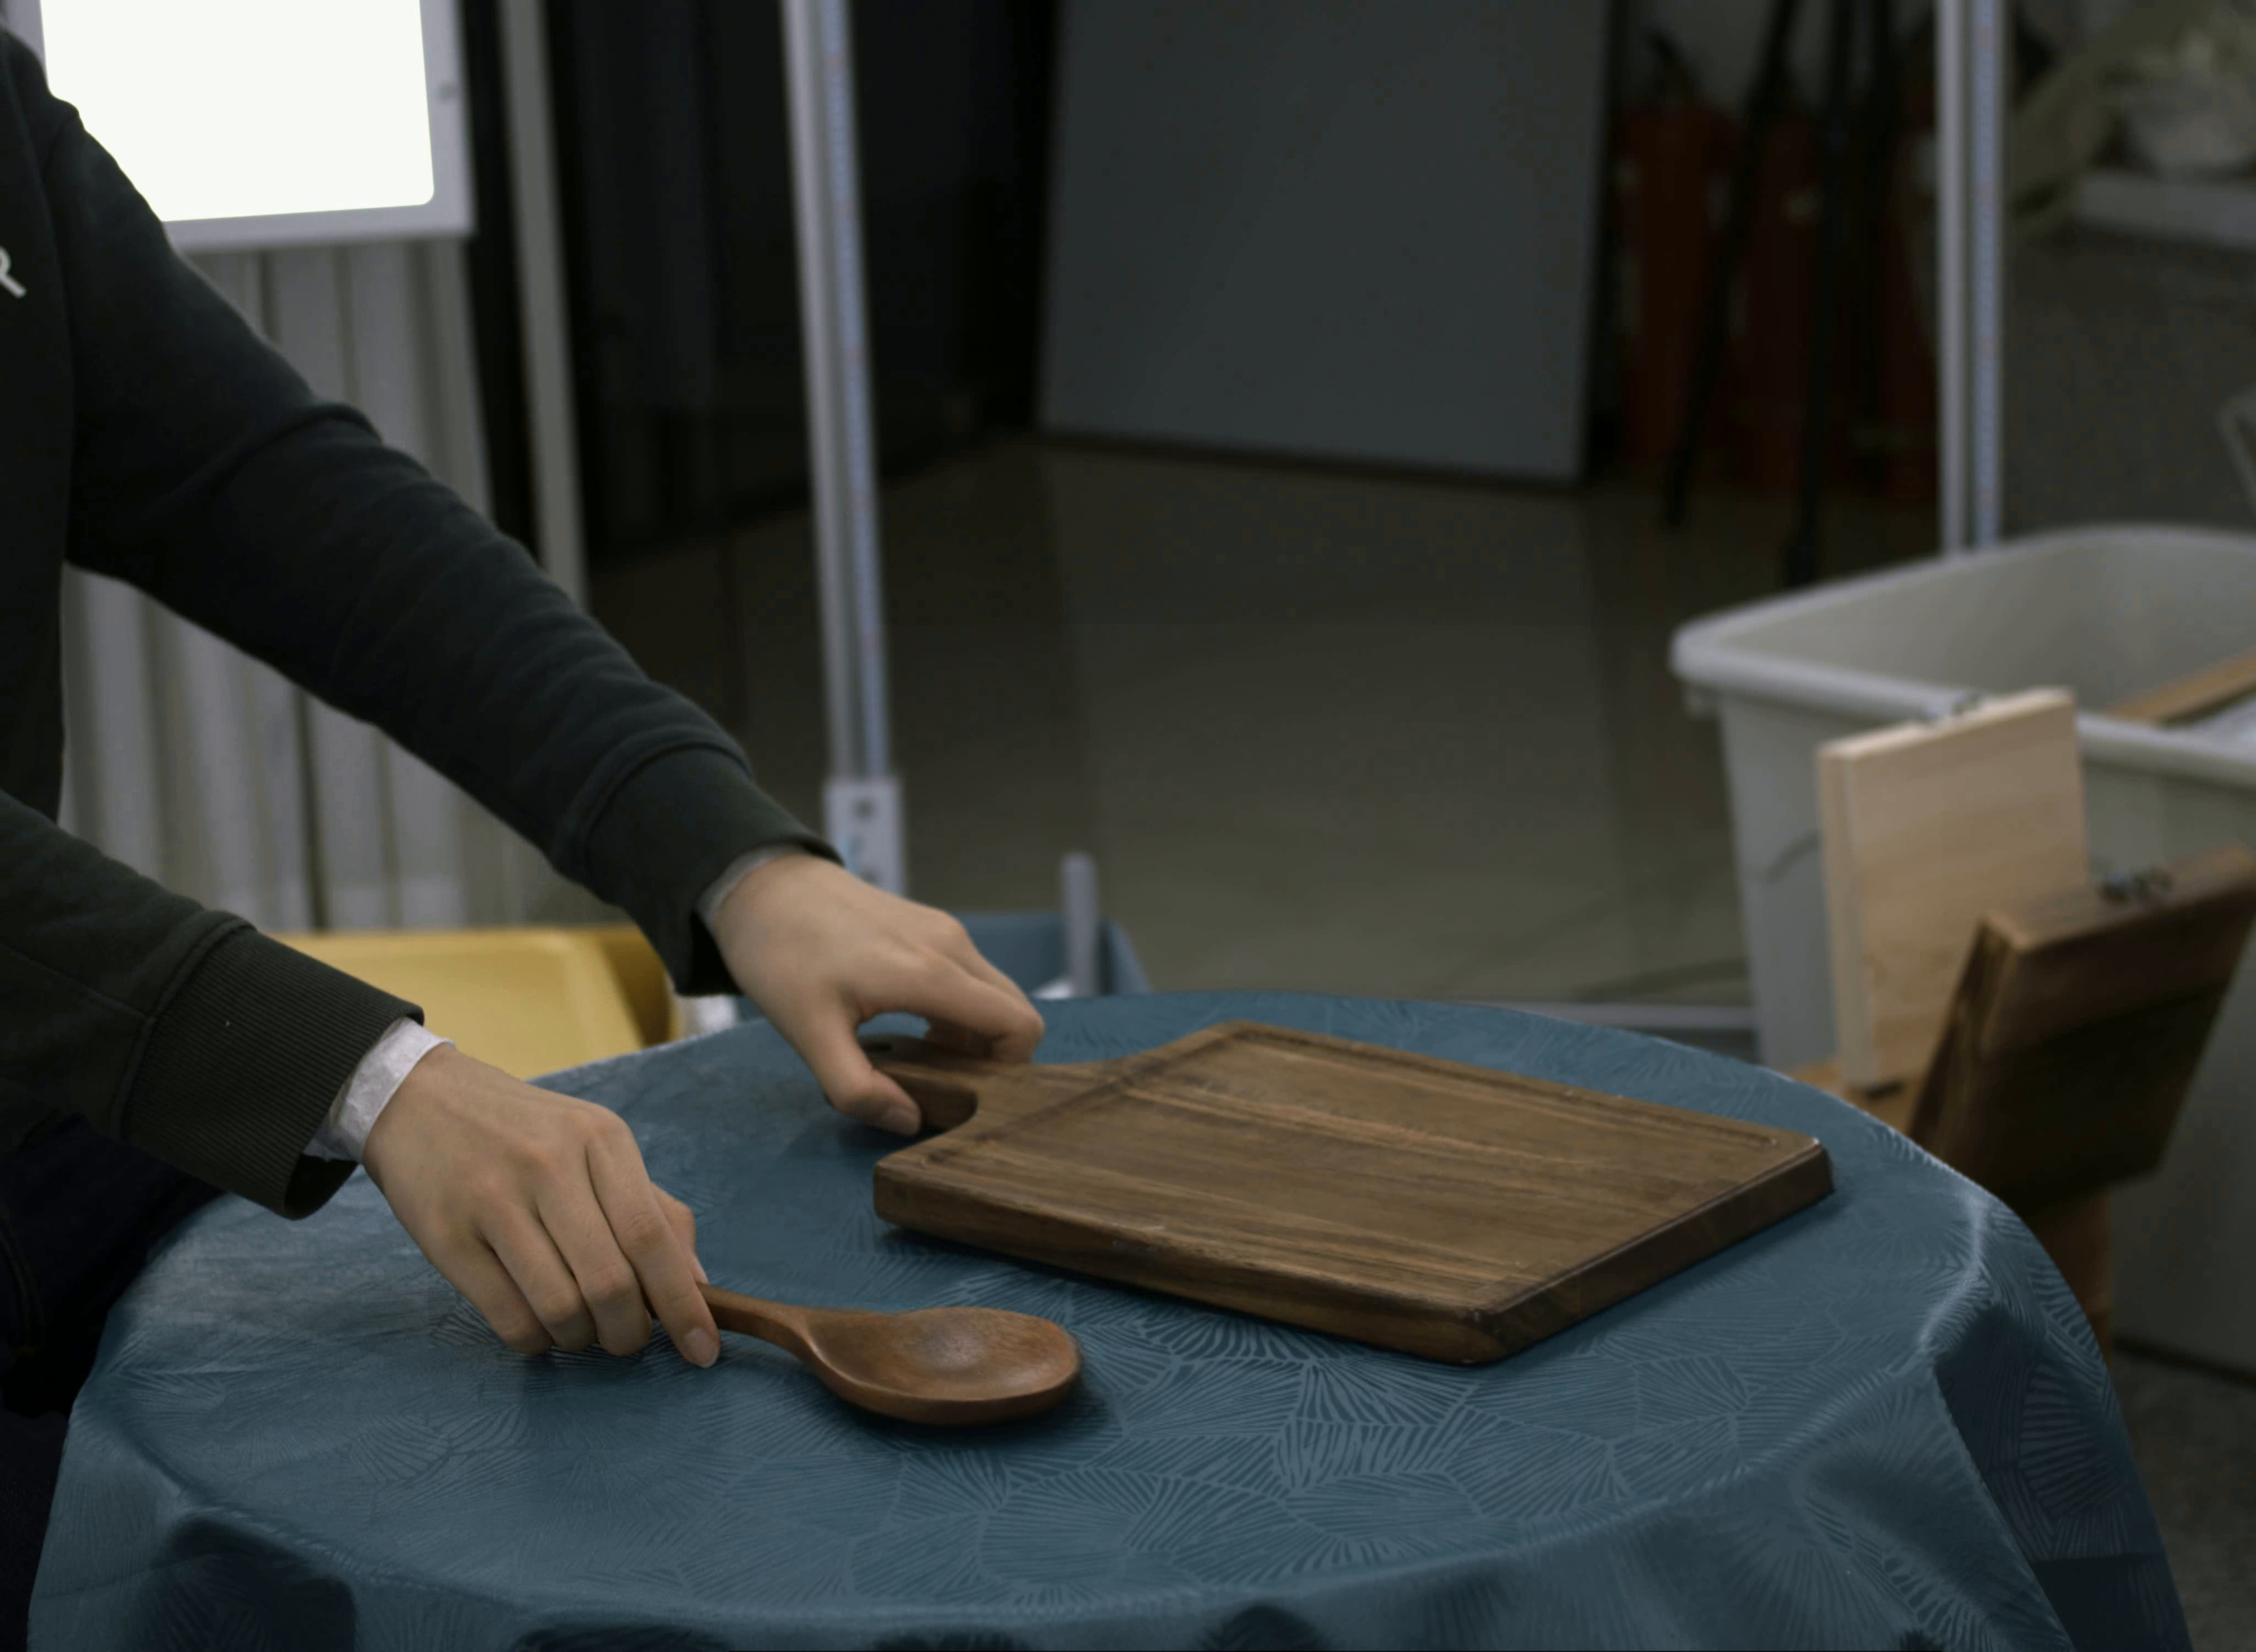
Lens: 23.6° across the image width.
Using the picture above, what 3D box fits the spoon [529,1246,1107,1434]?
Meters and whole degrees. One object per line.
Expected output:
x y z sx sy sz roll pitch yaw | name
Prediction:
-0.098 0.153 1.625 0.217 0.017 0.074 10 22 38 | spoon

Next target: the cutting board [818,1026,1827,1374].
0.034 0.109 1.760 0.355 0.023 0.197 9 20 40 | cutting board
